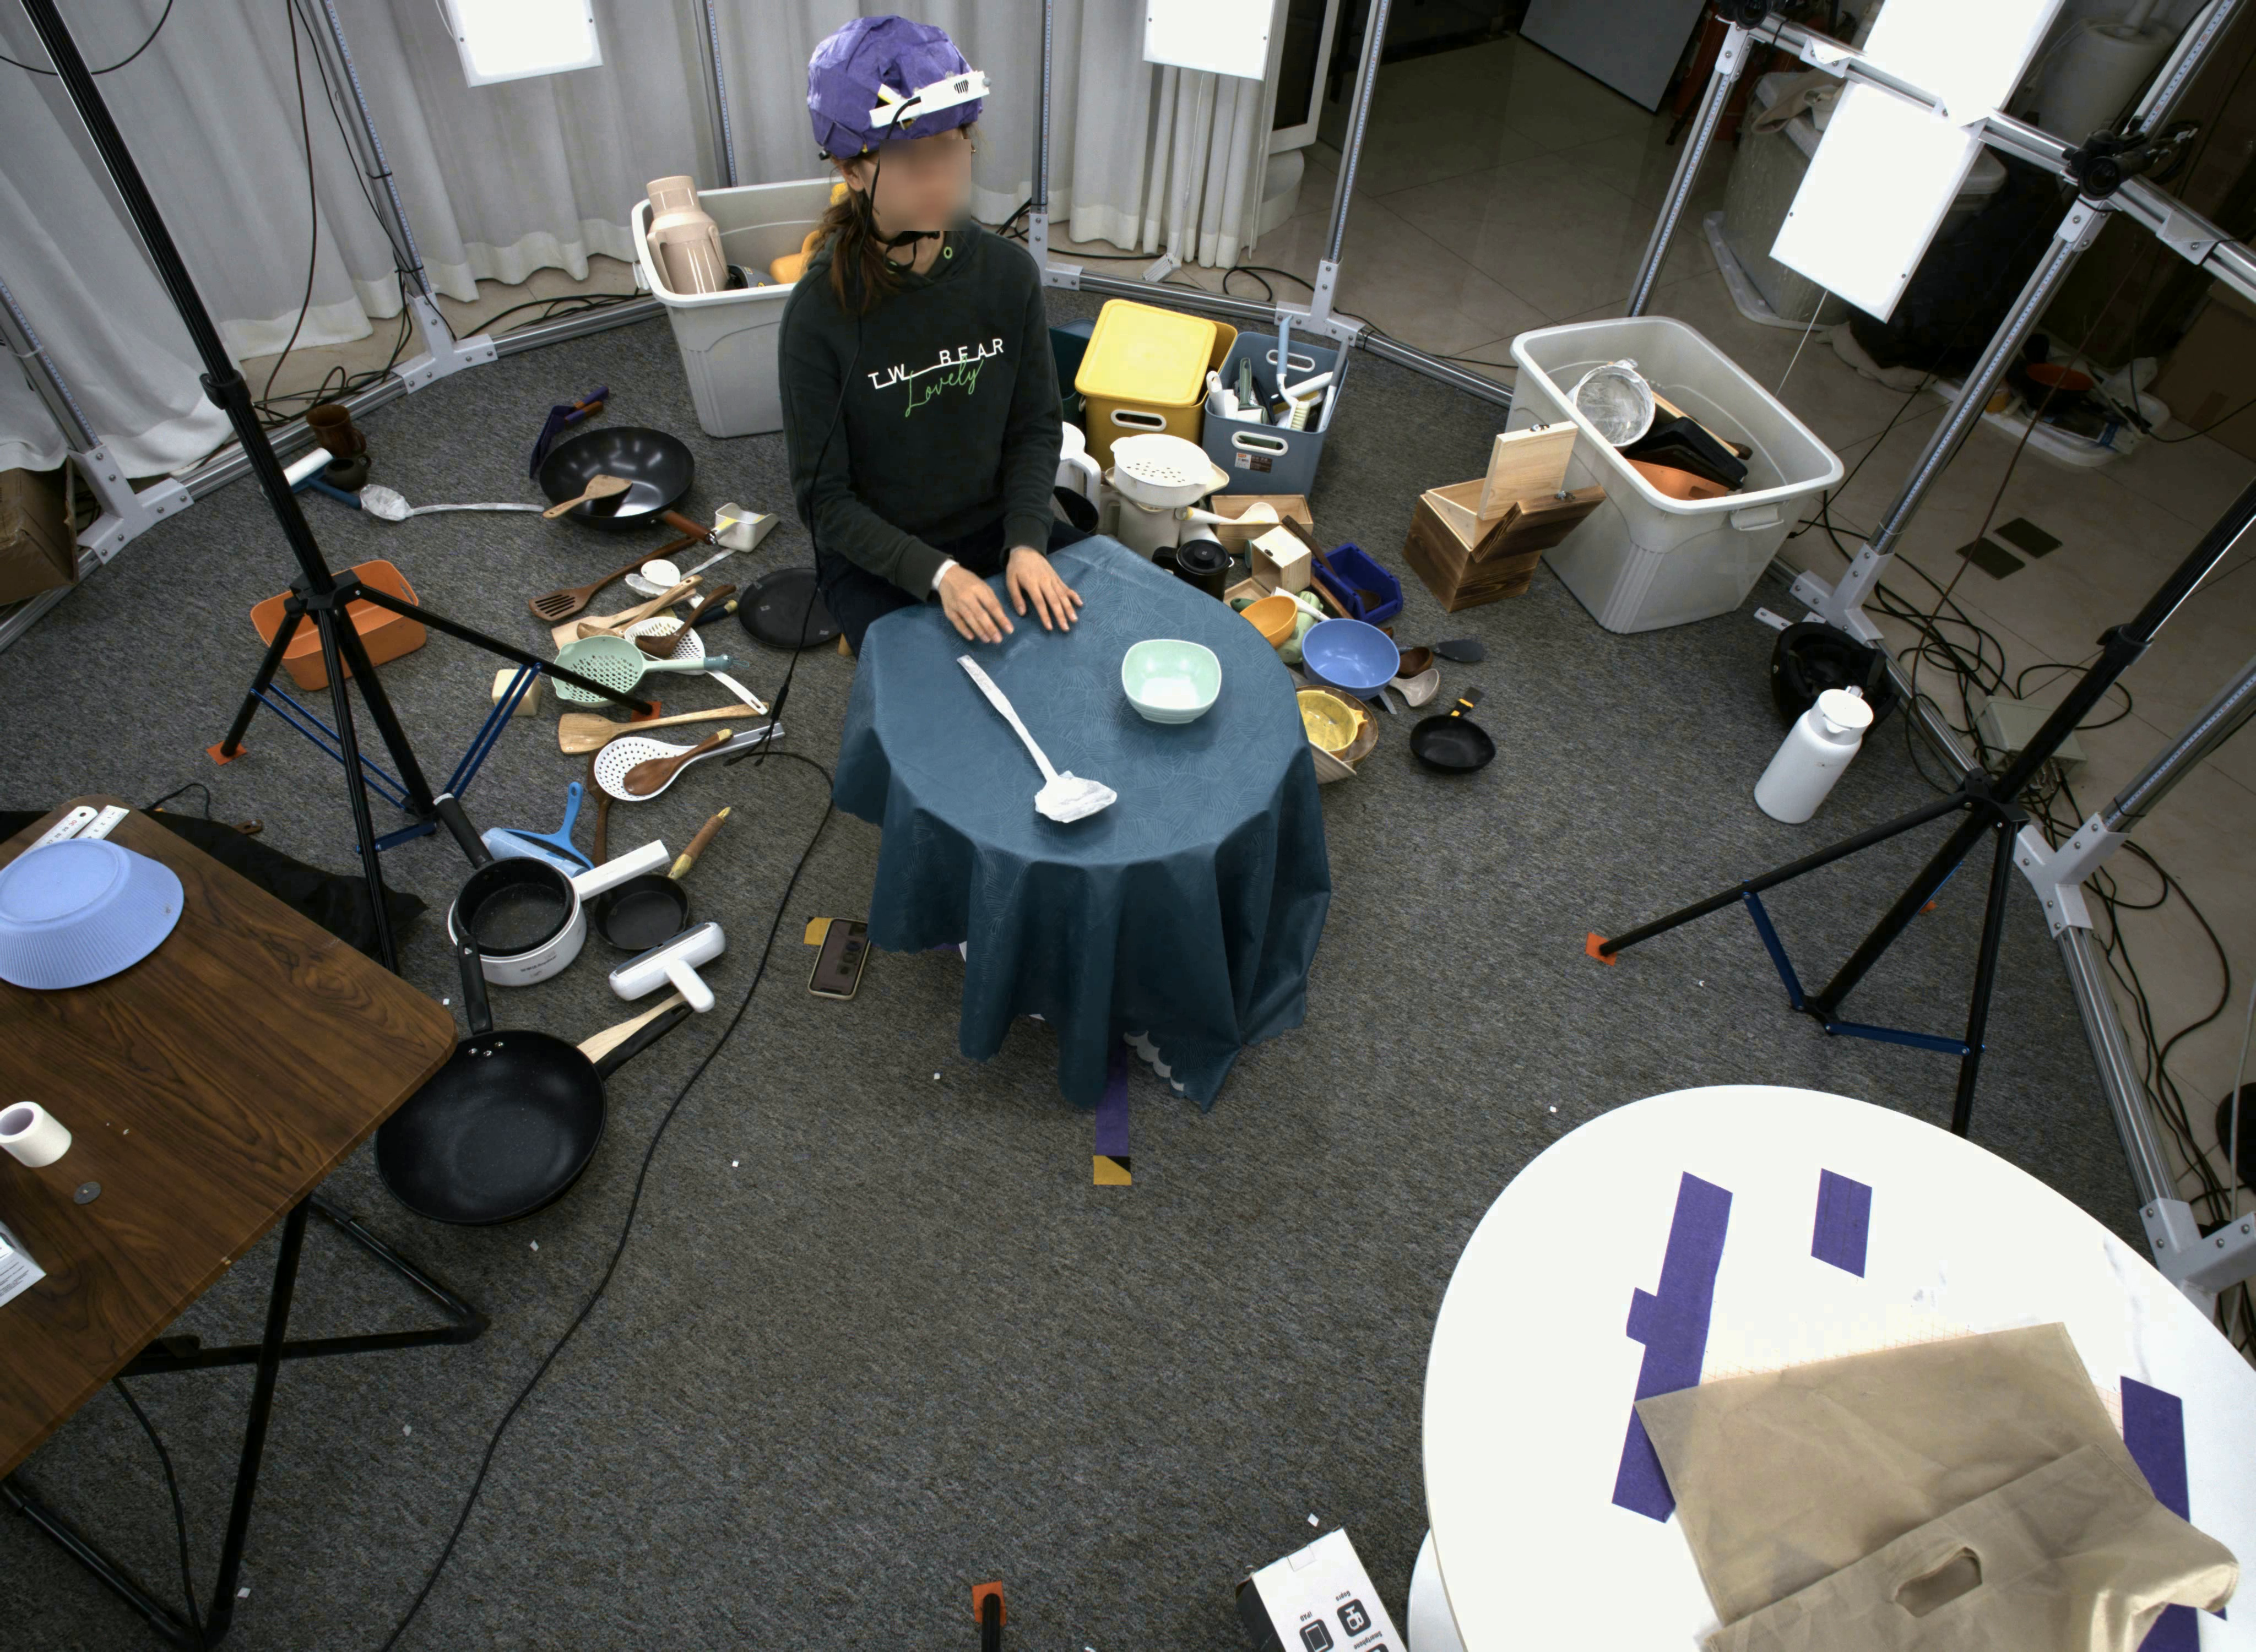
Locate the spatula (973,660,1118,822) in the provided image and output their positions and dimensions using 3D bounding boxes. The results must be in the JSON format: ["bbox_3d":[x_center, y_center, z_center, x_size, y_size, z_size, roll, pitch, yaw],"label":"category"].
[{"bbox_3d":[-0.136,-0.127,1.760,0.099,0.043,0.373,-22,54,-19],"label":"spatula"}]

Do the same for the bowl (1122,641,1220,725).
[{"bbox_3d":[0.059,-0.194,1.821,0.151,0.057,0.155,3,50,-4],"label":"bowl"}]
